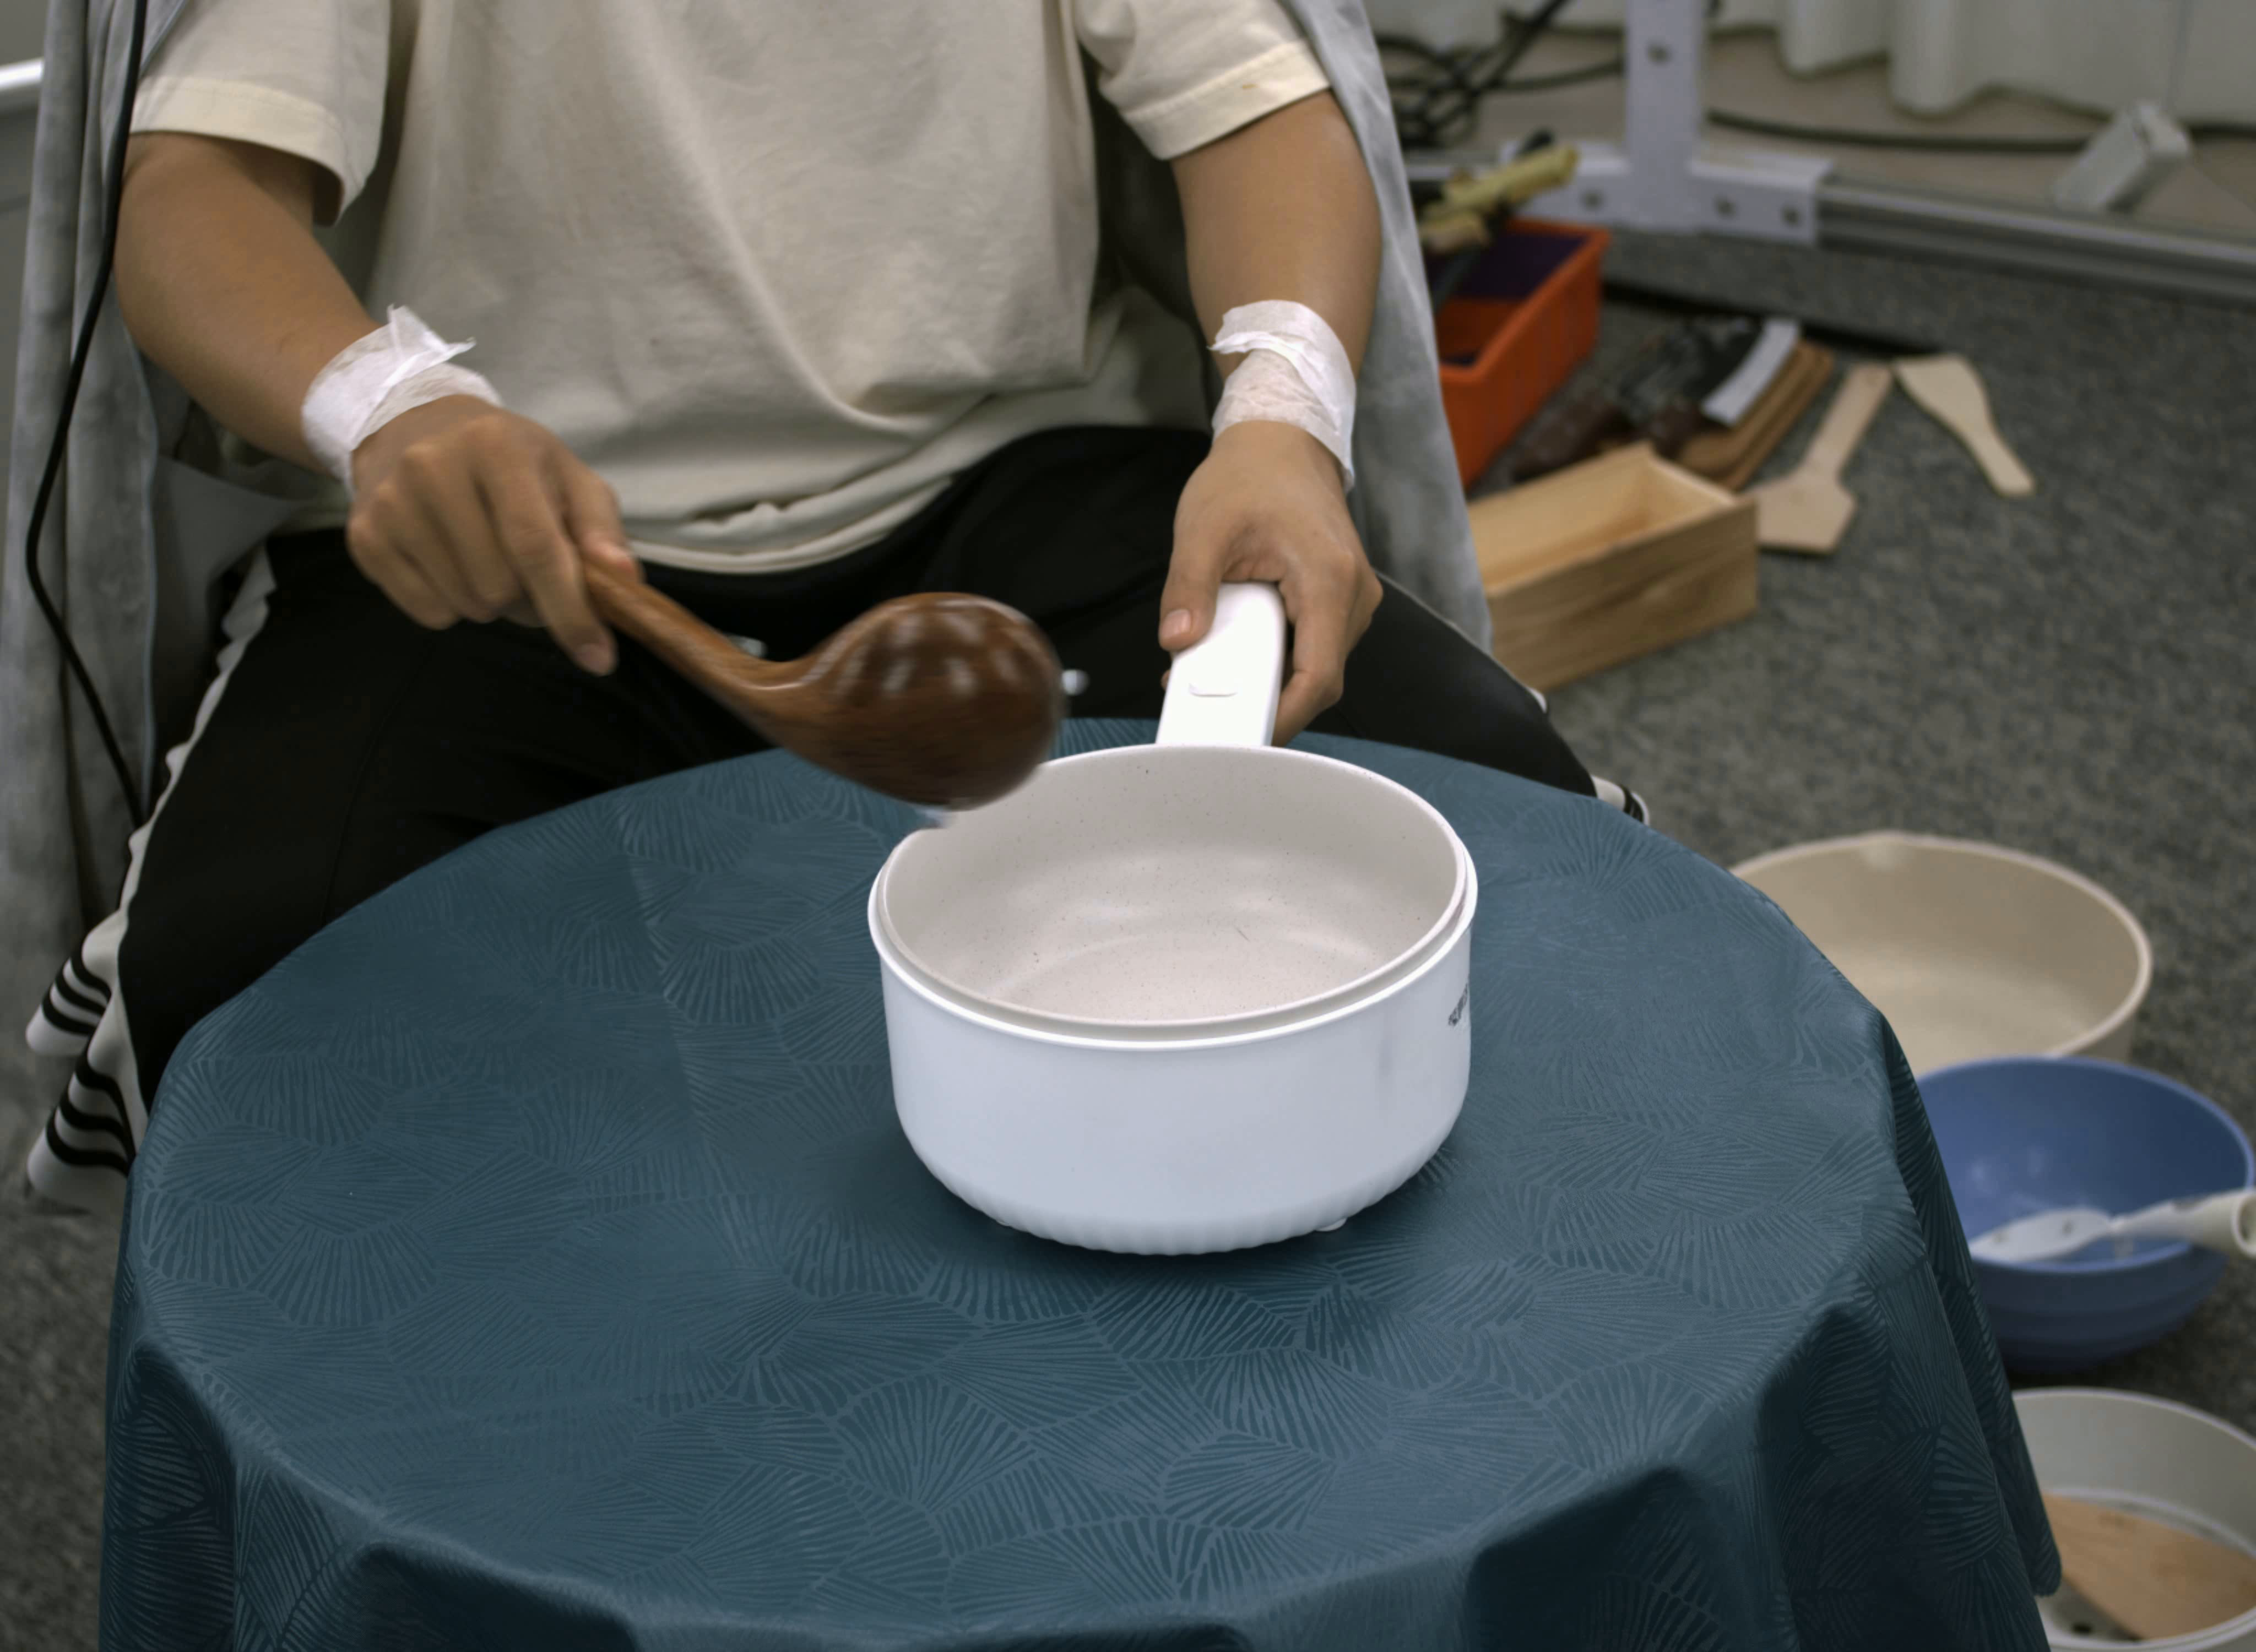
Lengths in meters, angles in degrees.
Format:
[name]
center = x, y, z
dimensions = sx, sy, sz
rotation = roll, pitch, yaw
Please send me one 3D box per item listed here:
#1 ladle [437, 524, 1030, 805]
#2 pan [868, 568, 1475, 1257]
[ladle]
center = -0.133, -0.073, 1.871
dimensions = 0.077, 0.081, 0.274
rotation = -24, 30, -28
[pan]
center = 0.026, 0.027, 1.937
dimensions = 0.200, 0.101, 0.360
rotation = 0, 26, 7
